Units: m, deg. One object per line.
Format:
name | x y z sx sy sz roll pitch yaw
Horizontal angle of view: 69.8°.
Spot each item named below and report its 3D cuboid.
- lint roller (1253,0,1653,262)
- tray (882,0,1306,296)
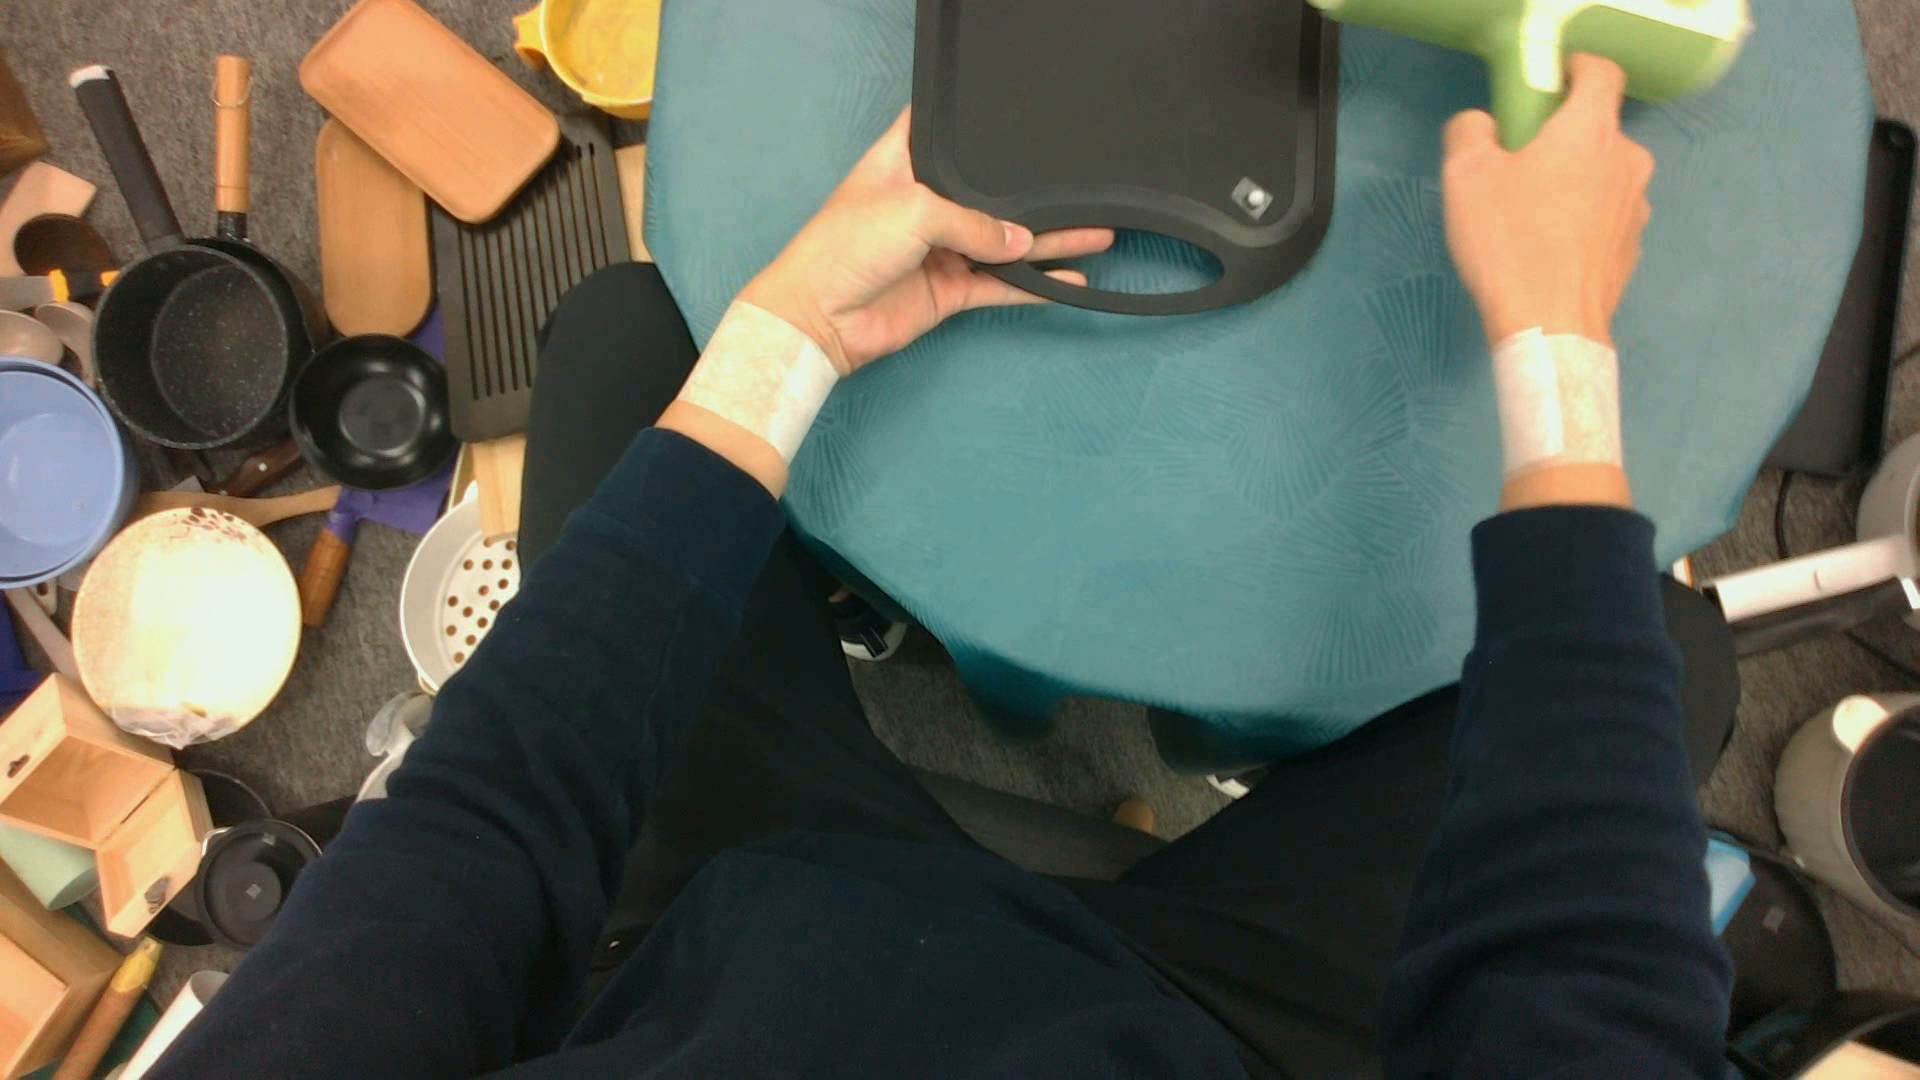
lint roller | 0.229 -0.213 0.588 0.199 0.082 0.184 2 62 -19
tray | 0.068 -0.276 0.655 0.211 0.010 0.325 2 86 -13
